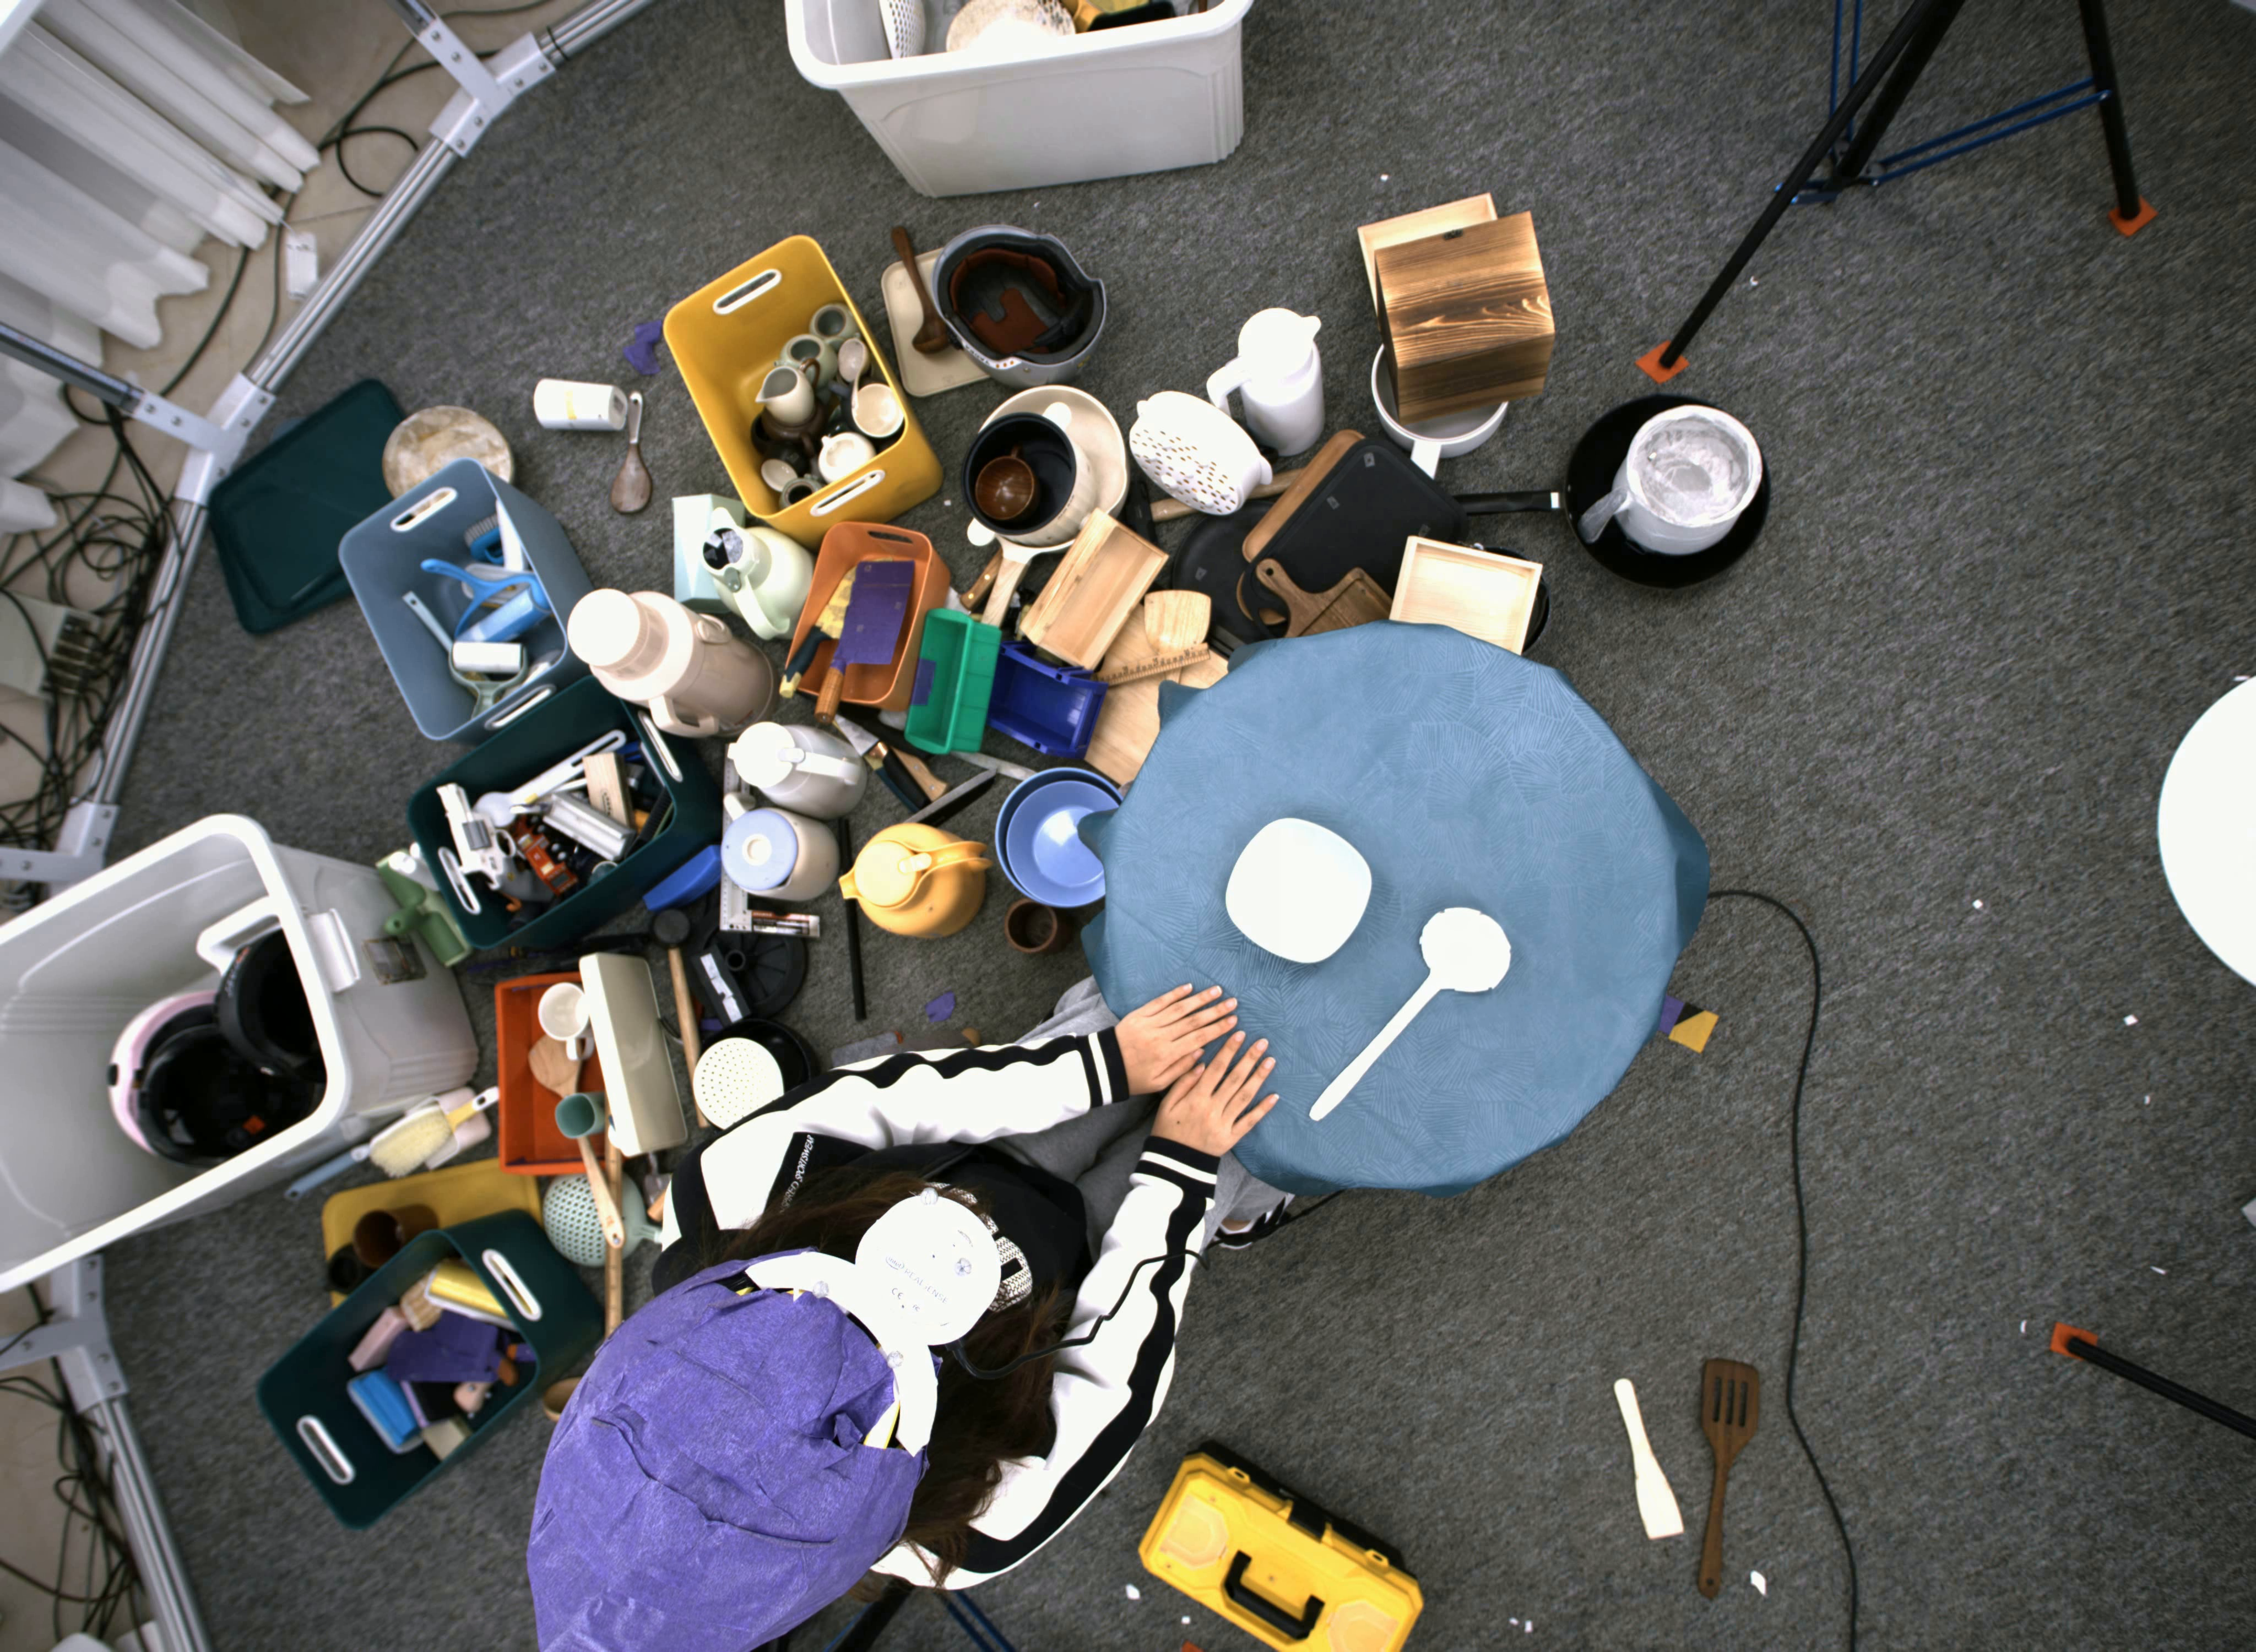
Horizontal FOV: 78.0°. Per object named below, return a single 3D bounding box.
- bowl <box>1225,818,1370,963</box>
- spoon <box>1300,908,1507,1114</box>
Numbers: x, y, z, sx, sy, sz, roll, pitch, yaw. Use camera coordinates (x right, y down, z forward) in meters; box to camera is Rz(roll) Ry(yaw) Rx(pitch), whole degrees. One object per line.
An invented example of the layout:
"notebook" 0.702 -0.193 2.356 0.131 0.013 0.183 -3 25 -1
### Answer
"bowl" 0.178 0.068 1.450 0.152 0.058 0.151 -1 86 10
"spoon" 0.272 0.194 1.424 0.278 0.059 0.100 -45 75 5
